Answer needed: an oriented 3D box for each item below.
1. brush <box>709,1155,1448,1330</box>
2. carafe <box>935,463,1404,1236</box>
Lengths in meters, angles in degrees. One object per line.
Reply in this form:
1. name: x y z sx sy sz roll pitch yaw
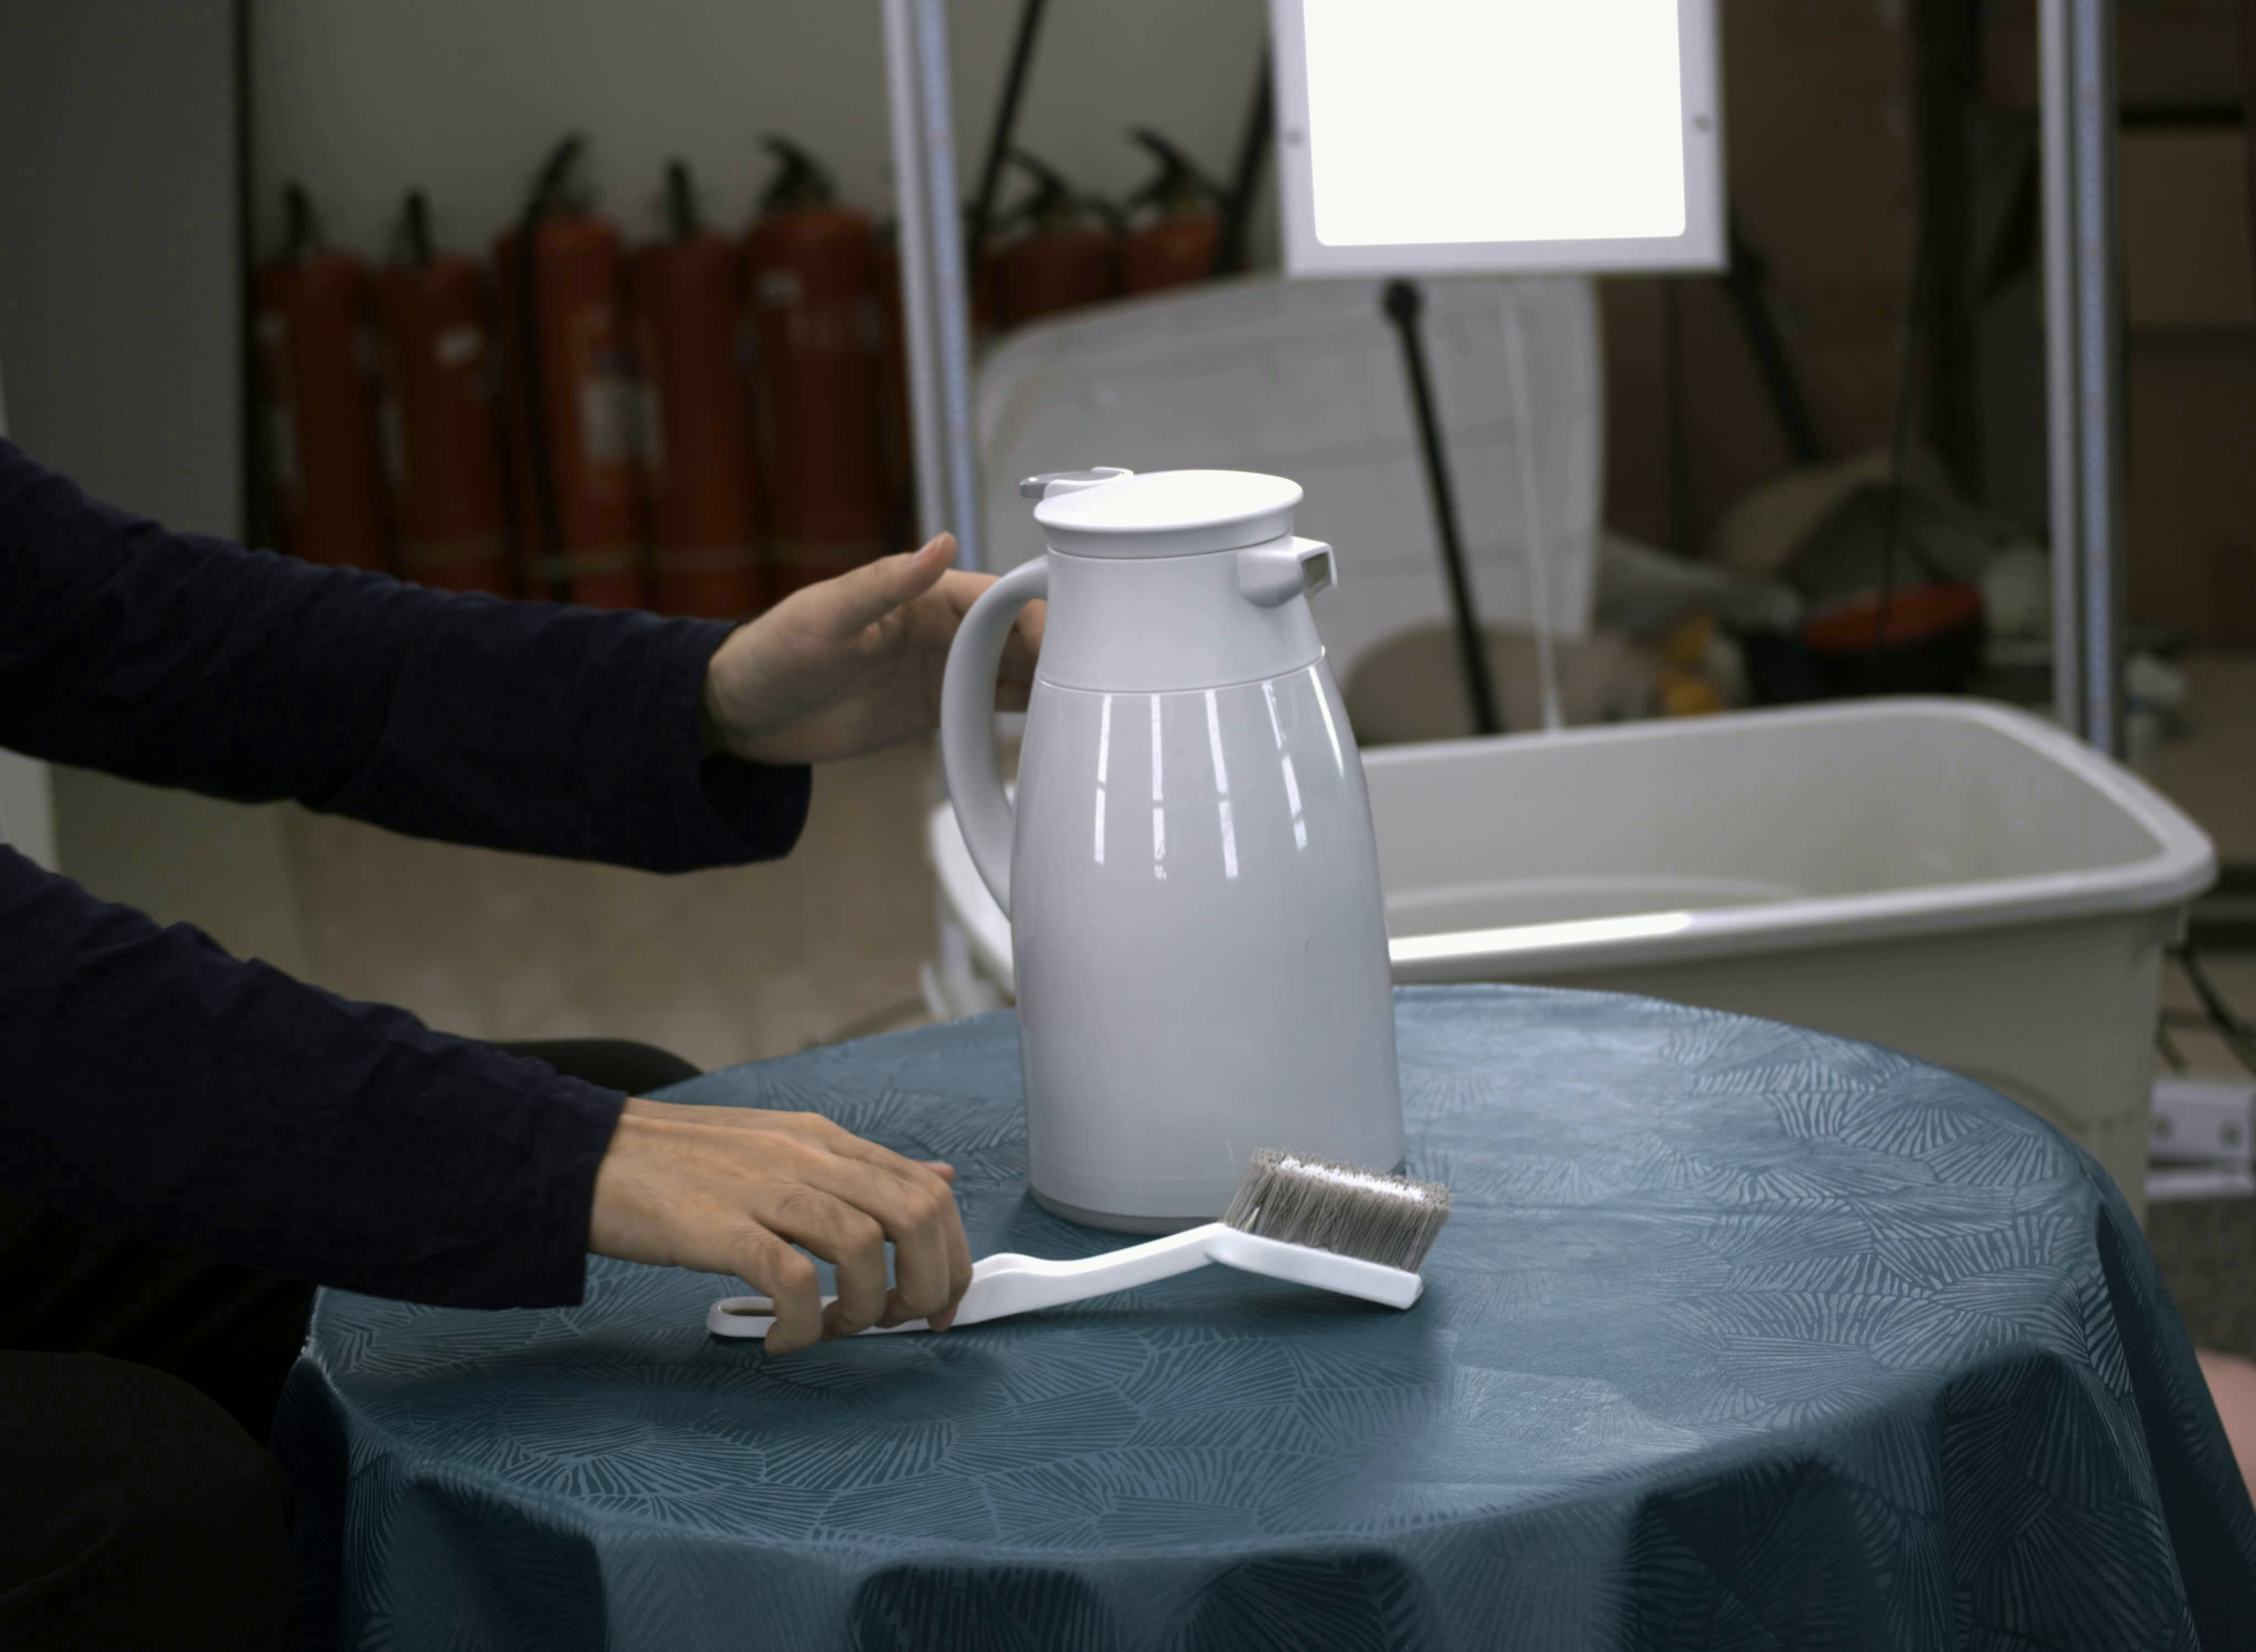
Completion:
1. brush: -0.017 0.134 1.773 0.245 0.050 0.034 -2 18 10
2. carafe: 0.006 0.001 1.888 0.171 0.249 0.129 6 18 38
